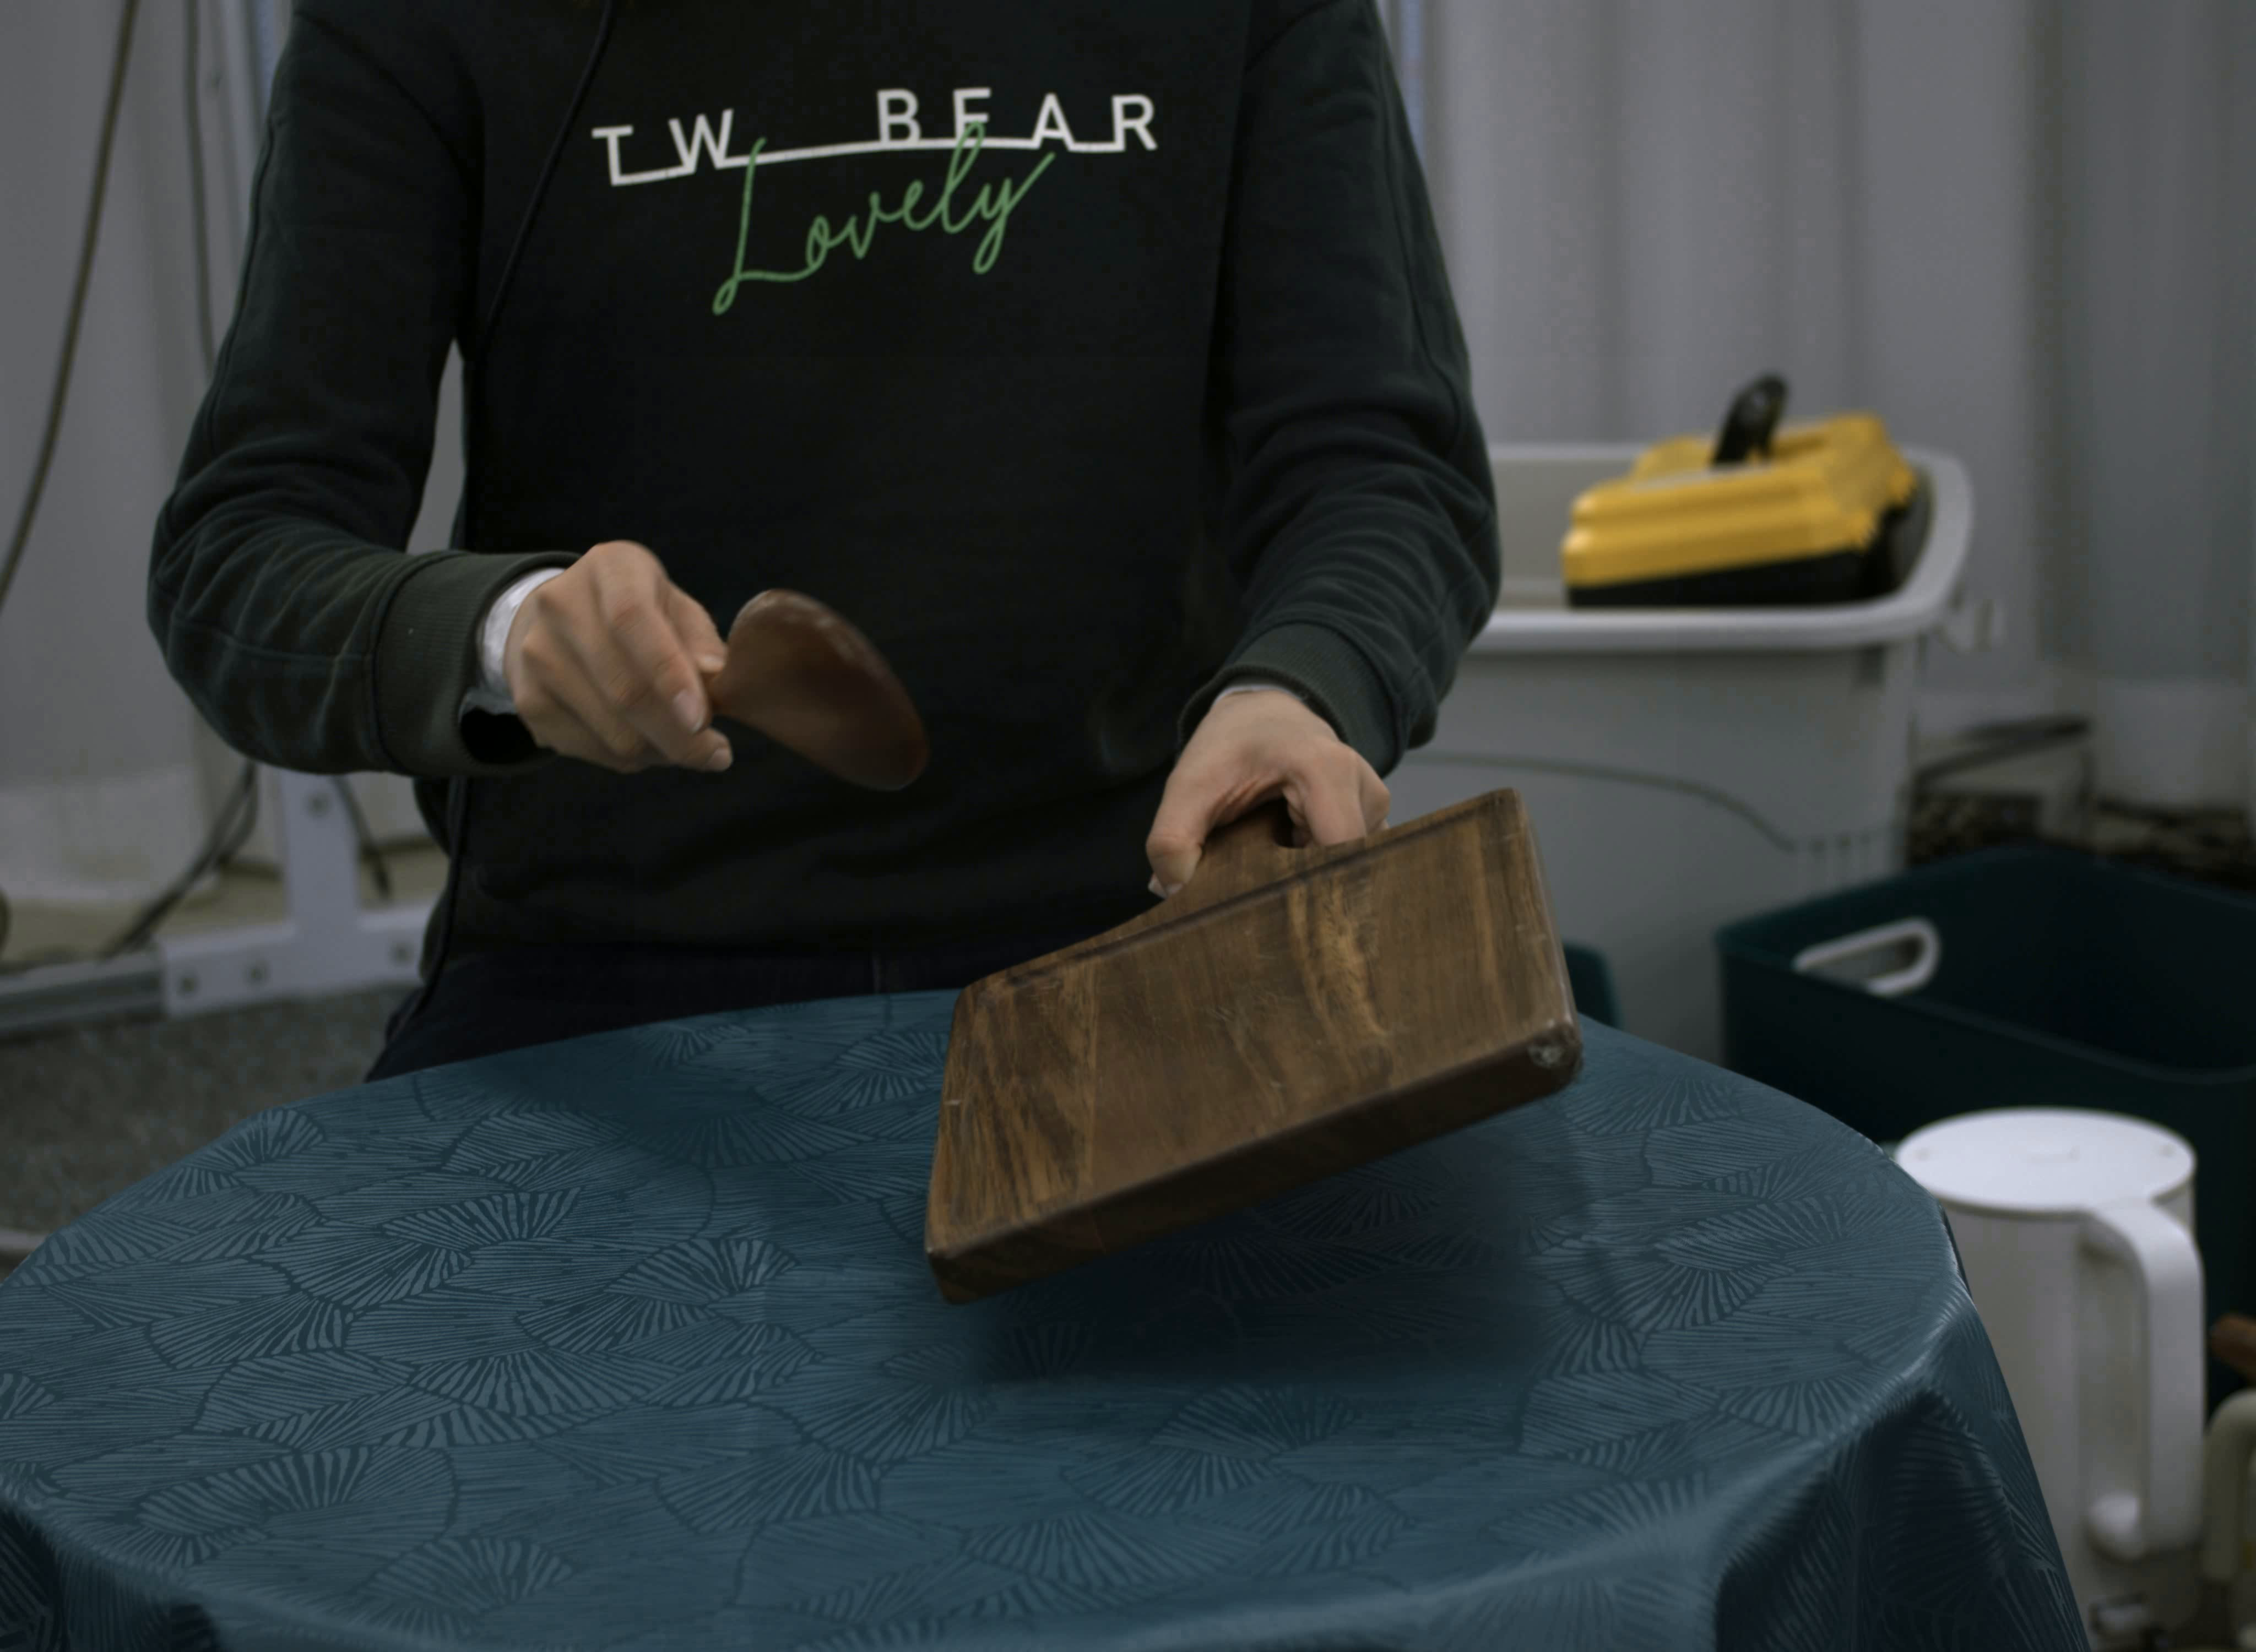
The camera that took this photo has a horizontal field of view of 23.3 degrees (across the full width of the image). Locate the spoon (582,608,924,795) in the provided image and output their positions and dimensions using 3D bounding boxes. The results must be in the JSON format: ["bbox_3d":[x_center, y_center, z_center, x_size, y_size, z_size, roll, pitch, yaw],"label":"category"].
[{"bbox_3d":[-0.125,-0.038,1.721,0.017,0.075,0.216,-45,20,-18],"label":"spoon"}]

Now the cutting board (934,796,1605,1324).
[{"bbox_3d":[0.039,0.051,1.690,0.200,0.023,0.355,-21,15,6],"label":"cutting board"}]
